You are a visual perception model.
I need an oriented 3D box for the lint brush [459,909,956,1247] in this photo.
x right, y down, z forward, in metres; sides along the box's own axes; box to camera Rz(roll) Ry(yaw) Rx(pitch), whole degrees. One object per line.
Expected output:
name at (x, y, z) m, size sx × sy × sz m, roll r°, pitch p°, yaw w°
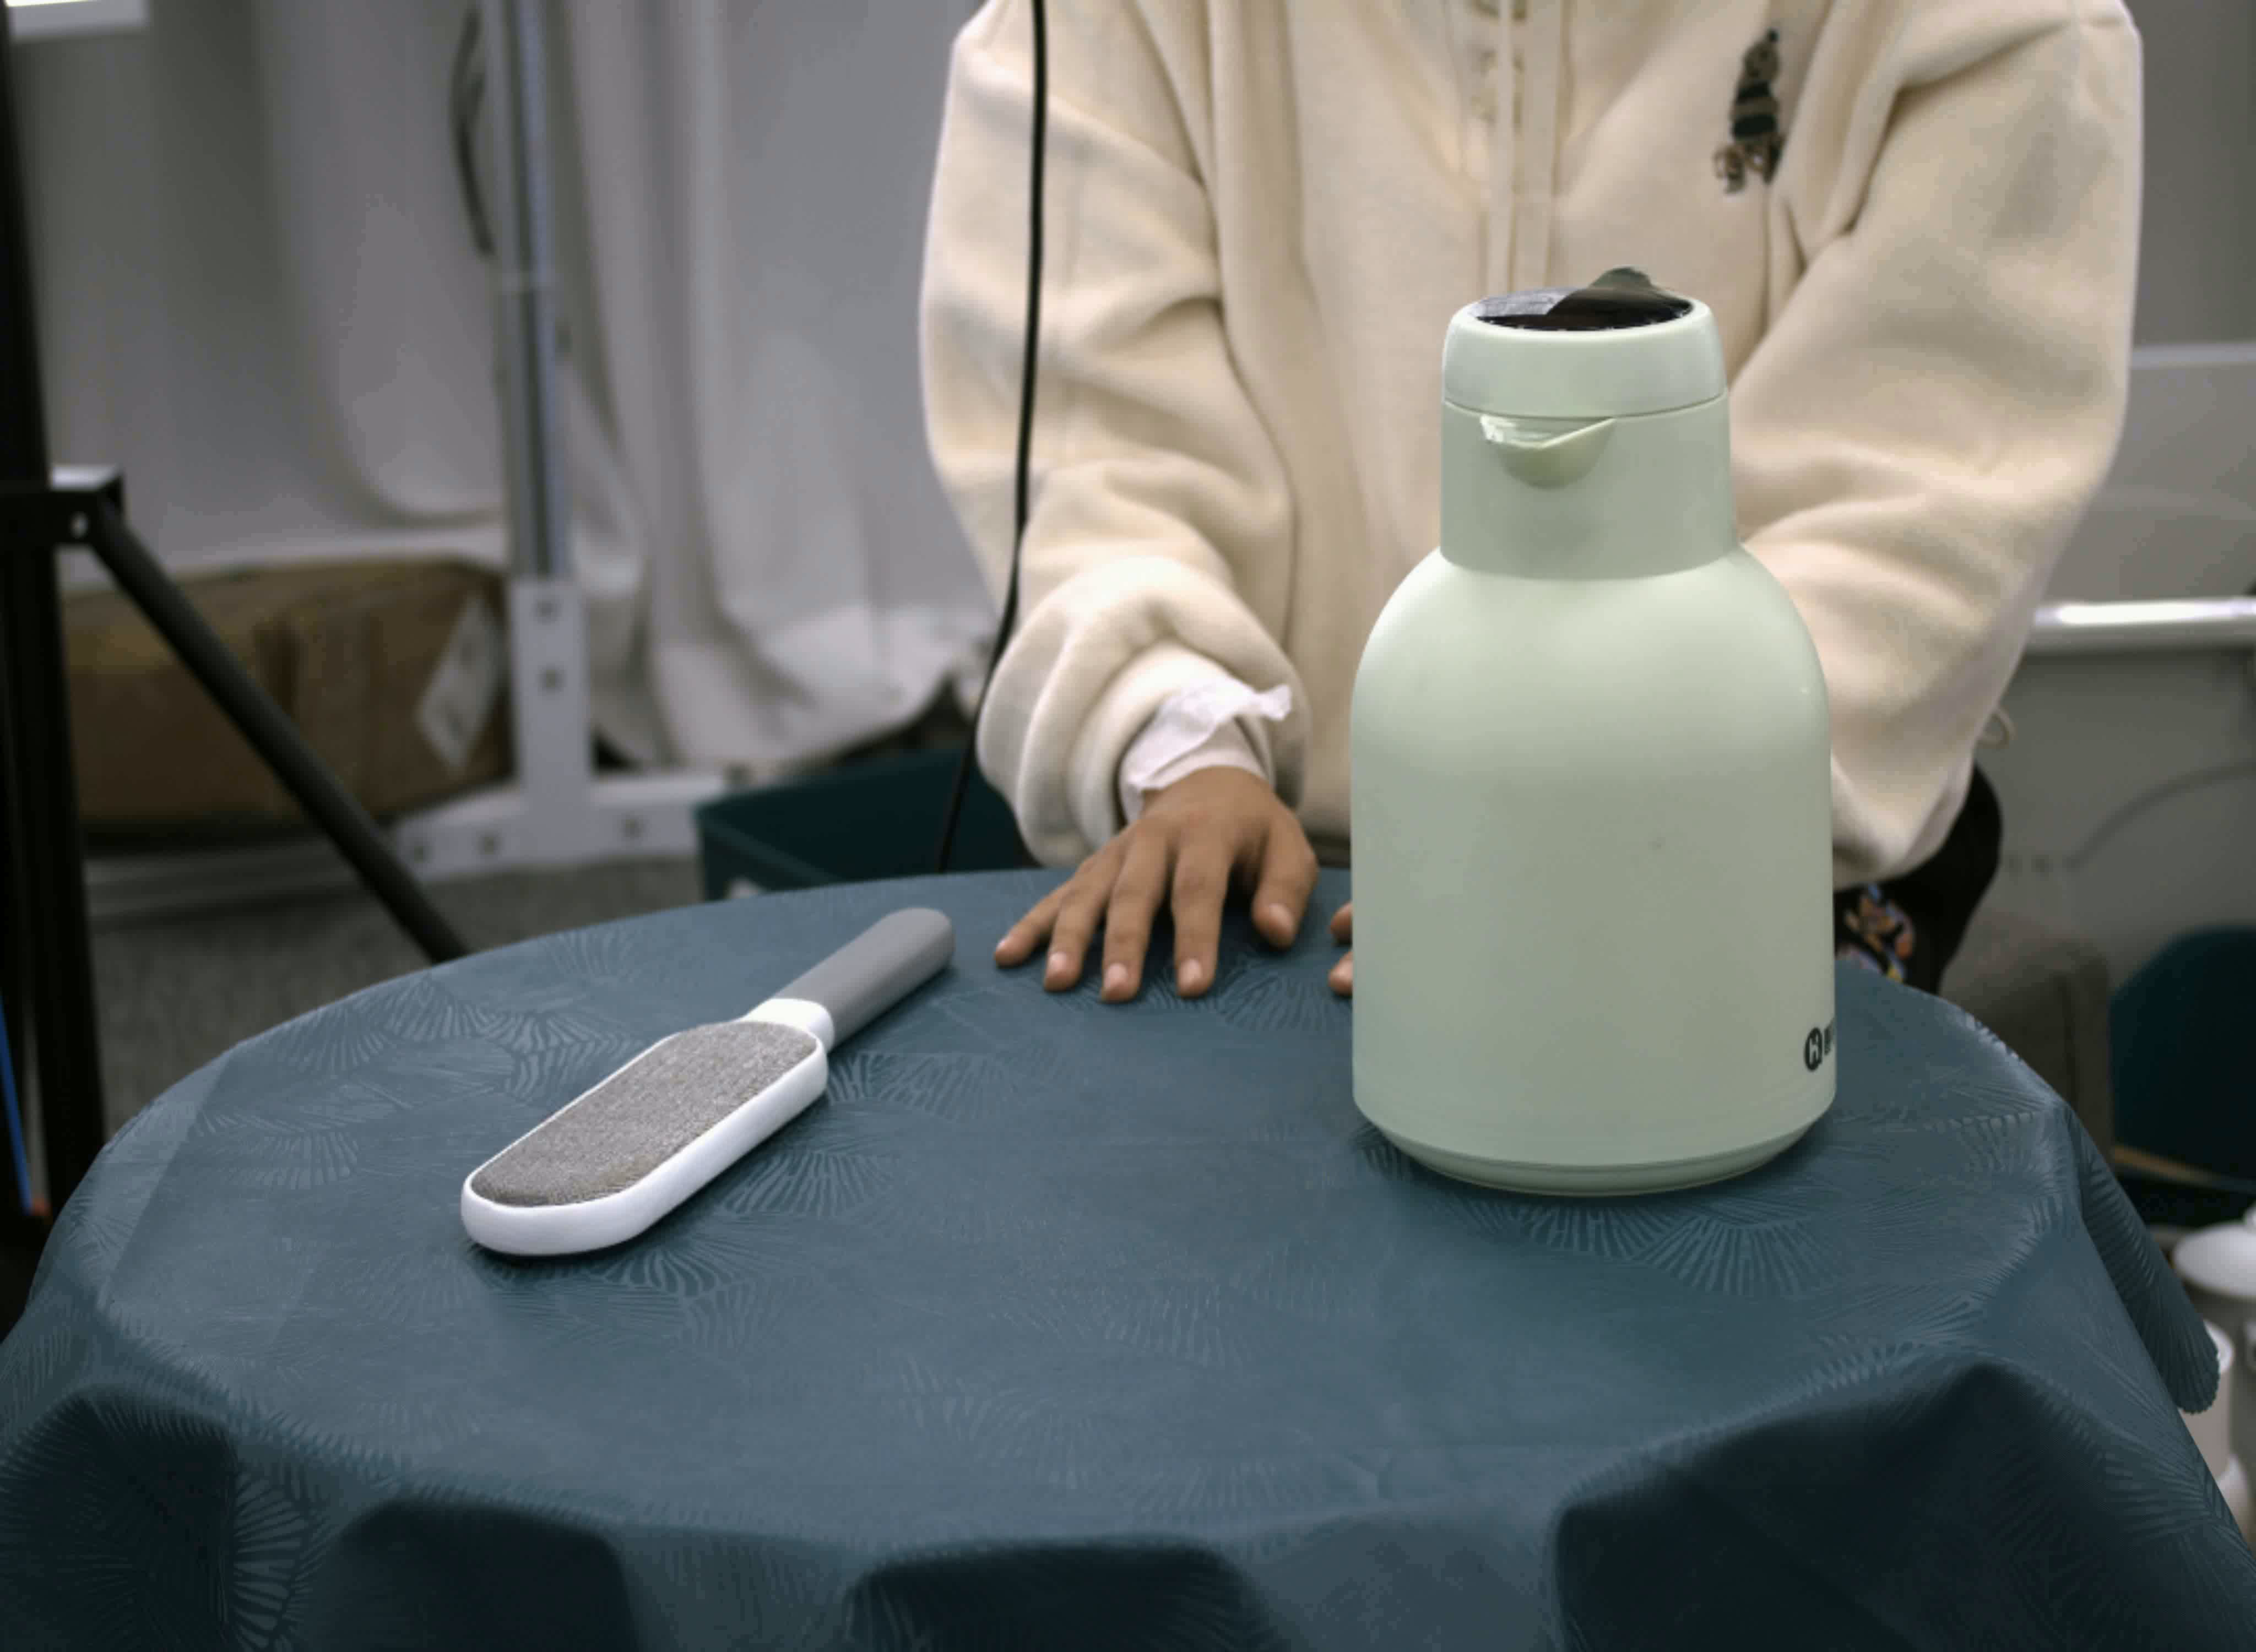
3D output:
lint brush at (-0.119, 0.075, 1.652) m, size 0.061 × 0.021 × 0.305 m, roll 1°, pitch 16°, yaw 21°

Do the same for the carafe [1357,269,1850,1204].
carafe at (0.143, -0.030, 1.568) m, size 0.146 × 0.257 × 0.184 m, roll 2°, pitch 12°, yaw 22°
